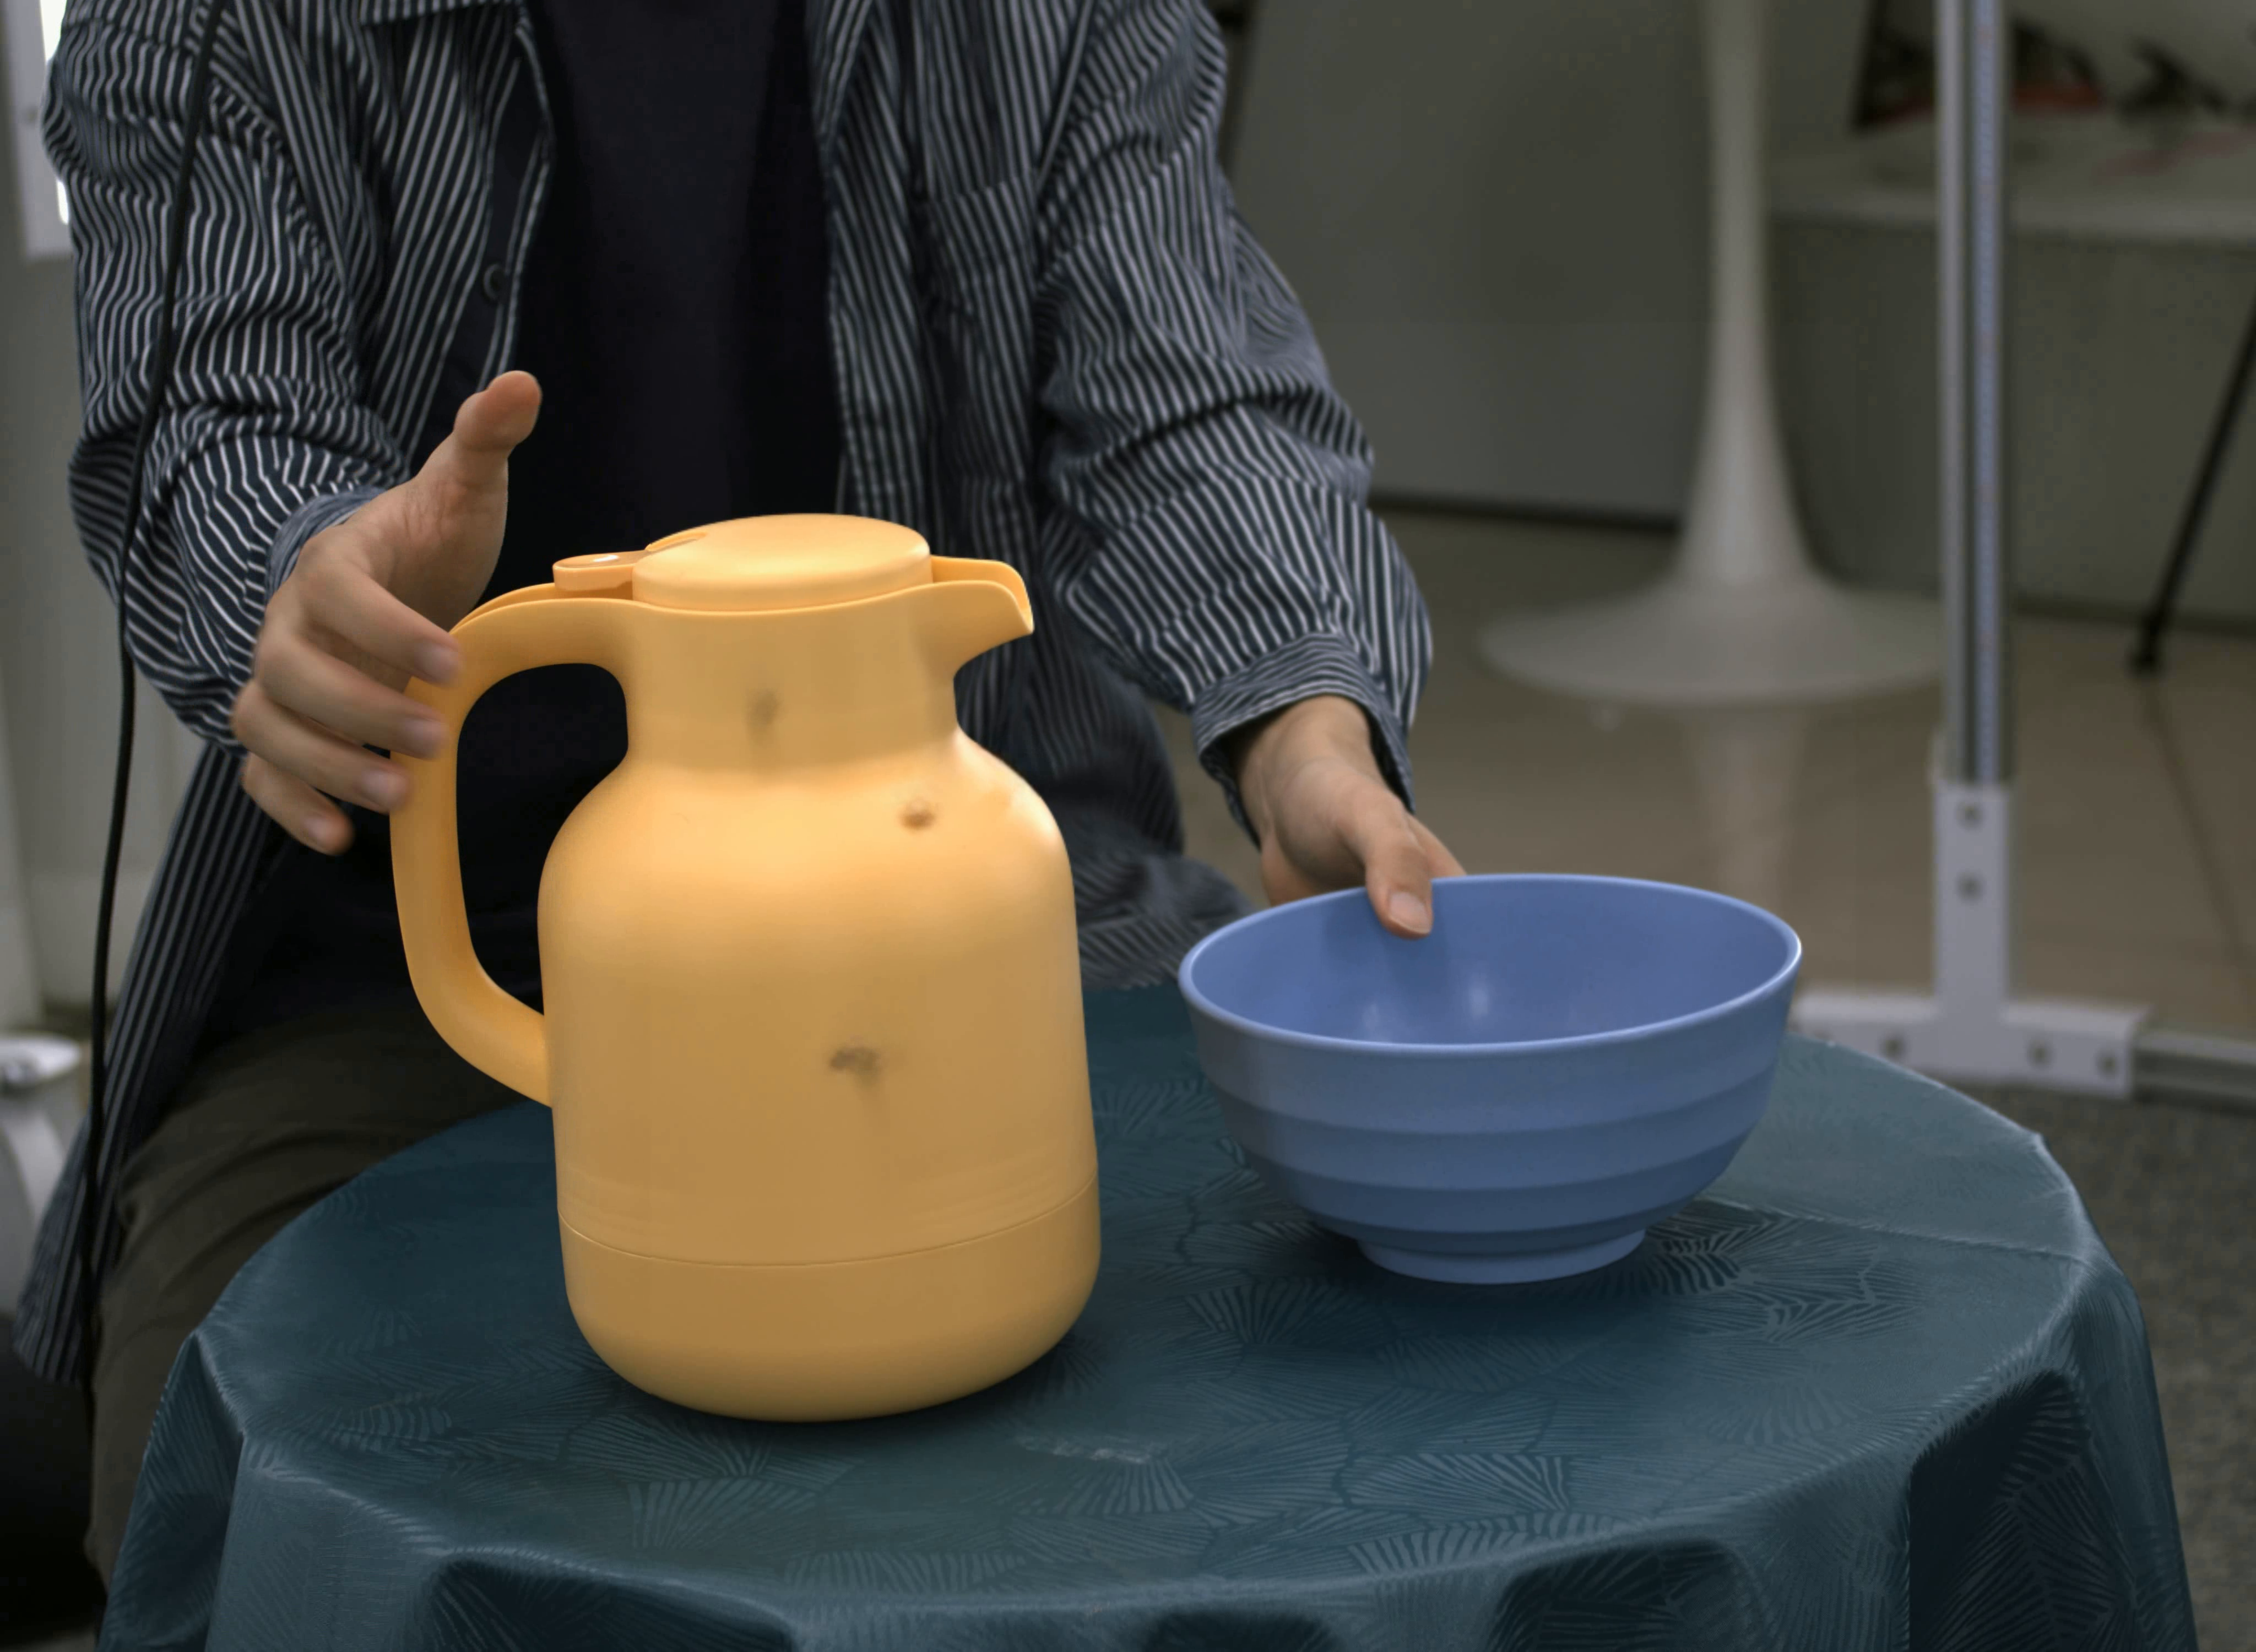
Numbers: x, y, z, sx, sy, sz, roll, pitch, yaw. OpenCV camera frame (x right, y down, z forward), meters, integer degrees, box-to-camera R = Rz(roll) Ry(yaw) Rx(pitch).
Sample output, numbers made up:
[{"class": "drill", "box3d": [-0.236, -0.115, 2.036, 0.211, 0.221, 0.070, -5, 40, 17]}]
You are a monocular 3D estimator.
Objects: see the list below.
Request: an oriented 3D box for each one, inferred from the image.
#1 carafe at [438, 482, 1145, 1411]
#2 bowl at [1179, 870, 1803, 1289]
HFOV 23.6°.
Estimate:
[{"class": "carafe", "box3d": [-0.100, 0.032, 1.609, 0.200, 0.263, 0.163, -3, 13, 6]}, {"class": "bowl", "box3d": [0.115, 0.085, 1.684, 0.194, 0.096, 0.197, -4, 14, 0]}]
